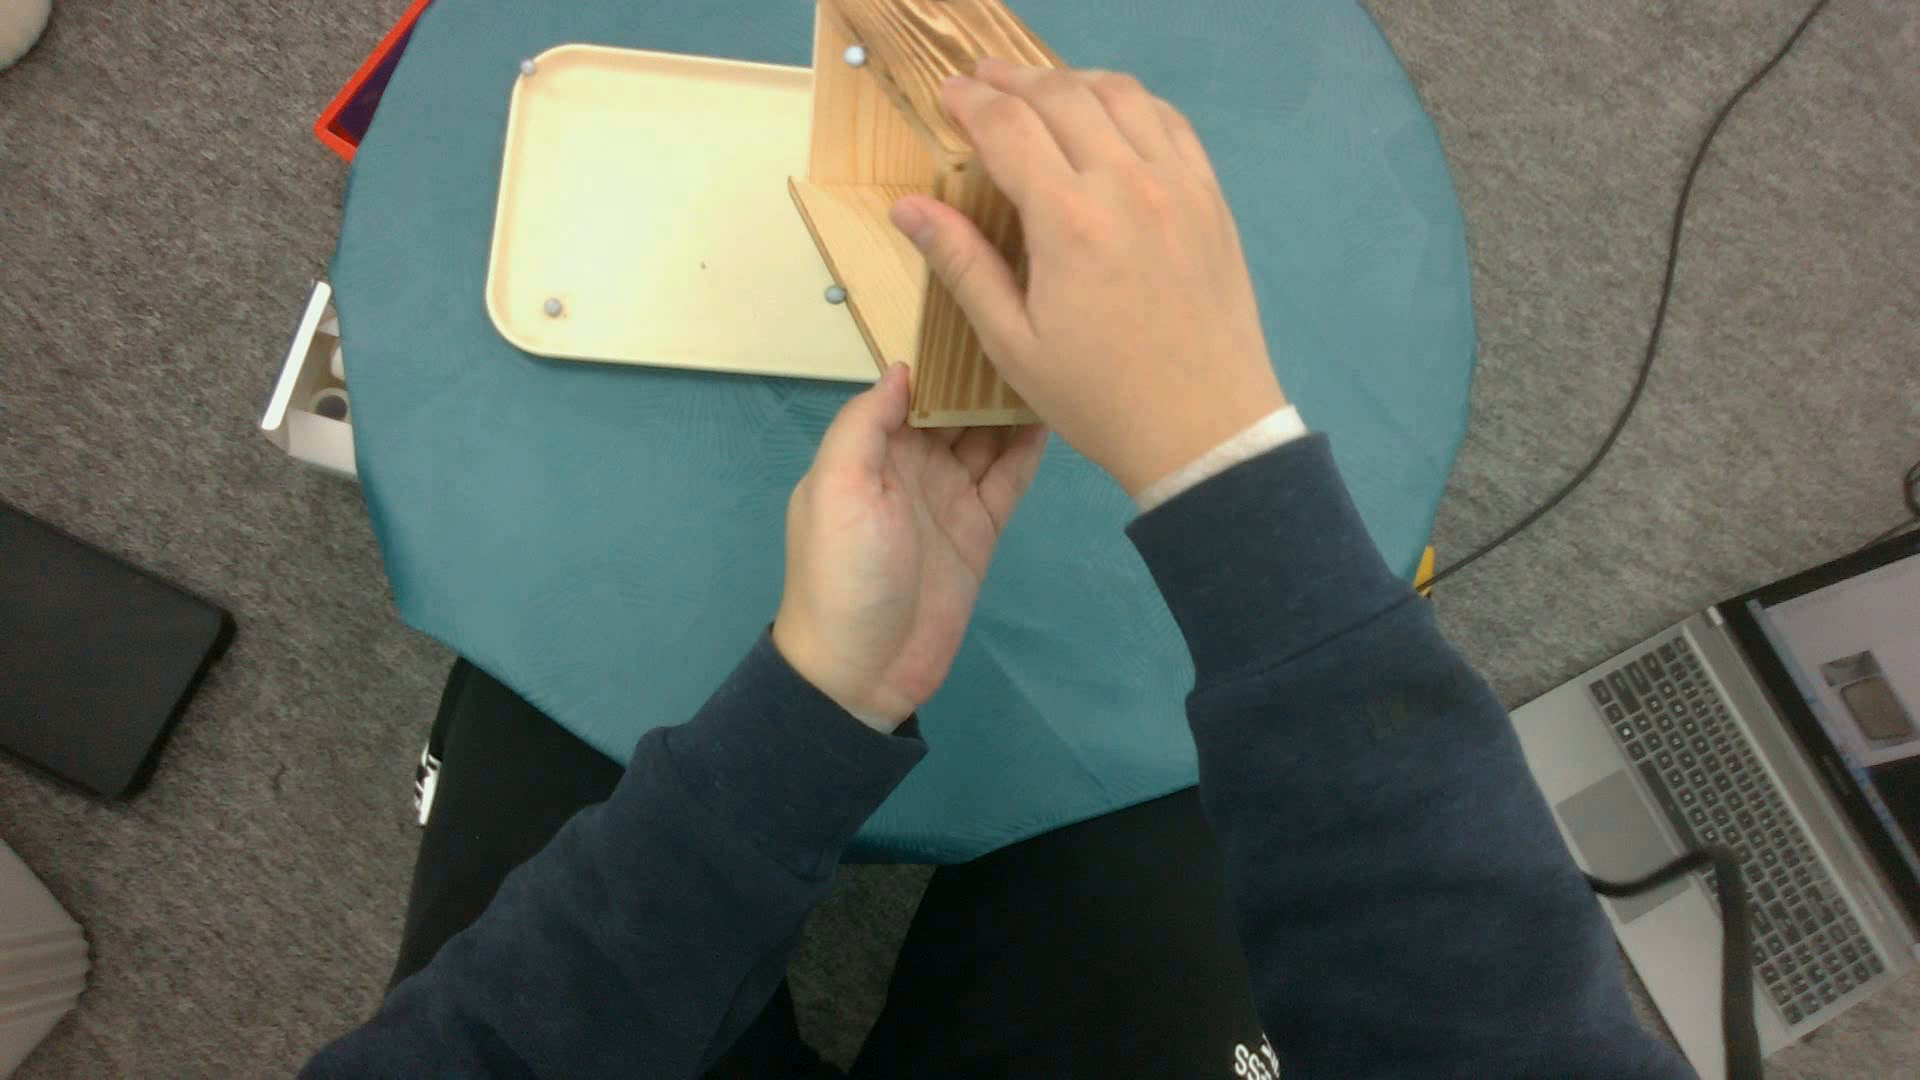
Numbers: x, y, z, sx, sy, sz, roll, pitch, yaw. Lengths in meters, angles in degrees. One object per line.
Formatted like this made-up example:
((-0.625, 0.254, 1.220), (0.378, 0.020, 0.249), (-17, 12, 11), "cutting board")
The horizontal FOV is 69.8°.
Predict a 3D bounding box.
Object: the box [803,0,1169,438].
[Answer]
((-0.001, -0.146, 0.582), (0.080, 0.107, 0.212), (-3, 38, -20), "box")

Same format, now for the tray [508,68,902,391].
((-0.113, -0.165, 0.735), (0.240, 0.017, 0.171), (4, 78, -3), "tray")
